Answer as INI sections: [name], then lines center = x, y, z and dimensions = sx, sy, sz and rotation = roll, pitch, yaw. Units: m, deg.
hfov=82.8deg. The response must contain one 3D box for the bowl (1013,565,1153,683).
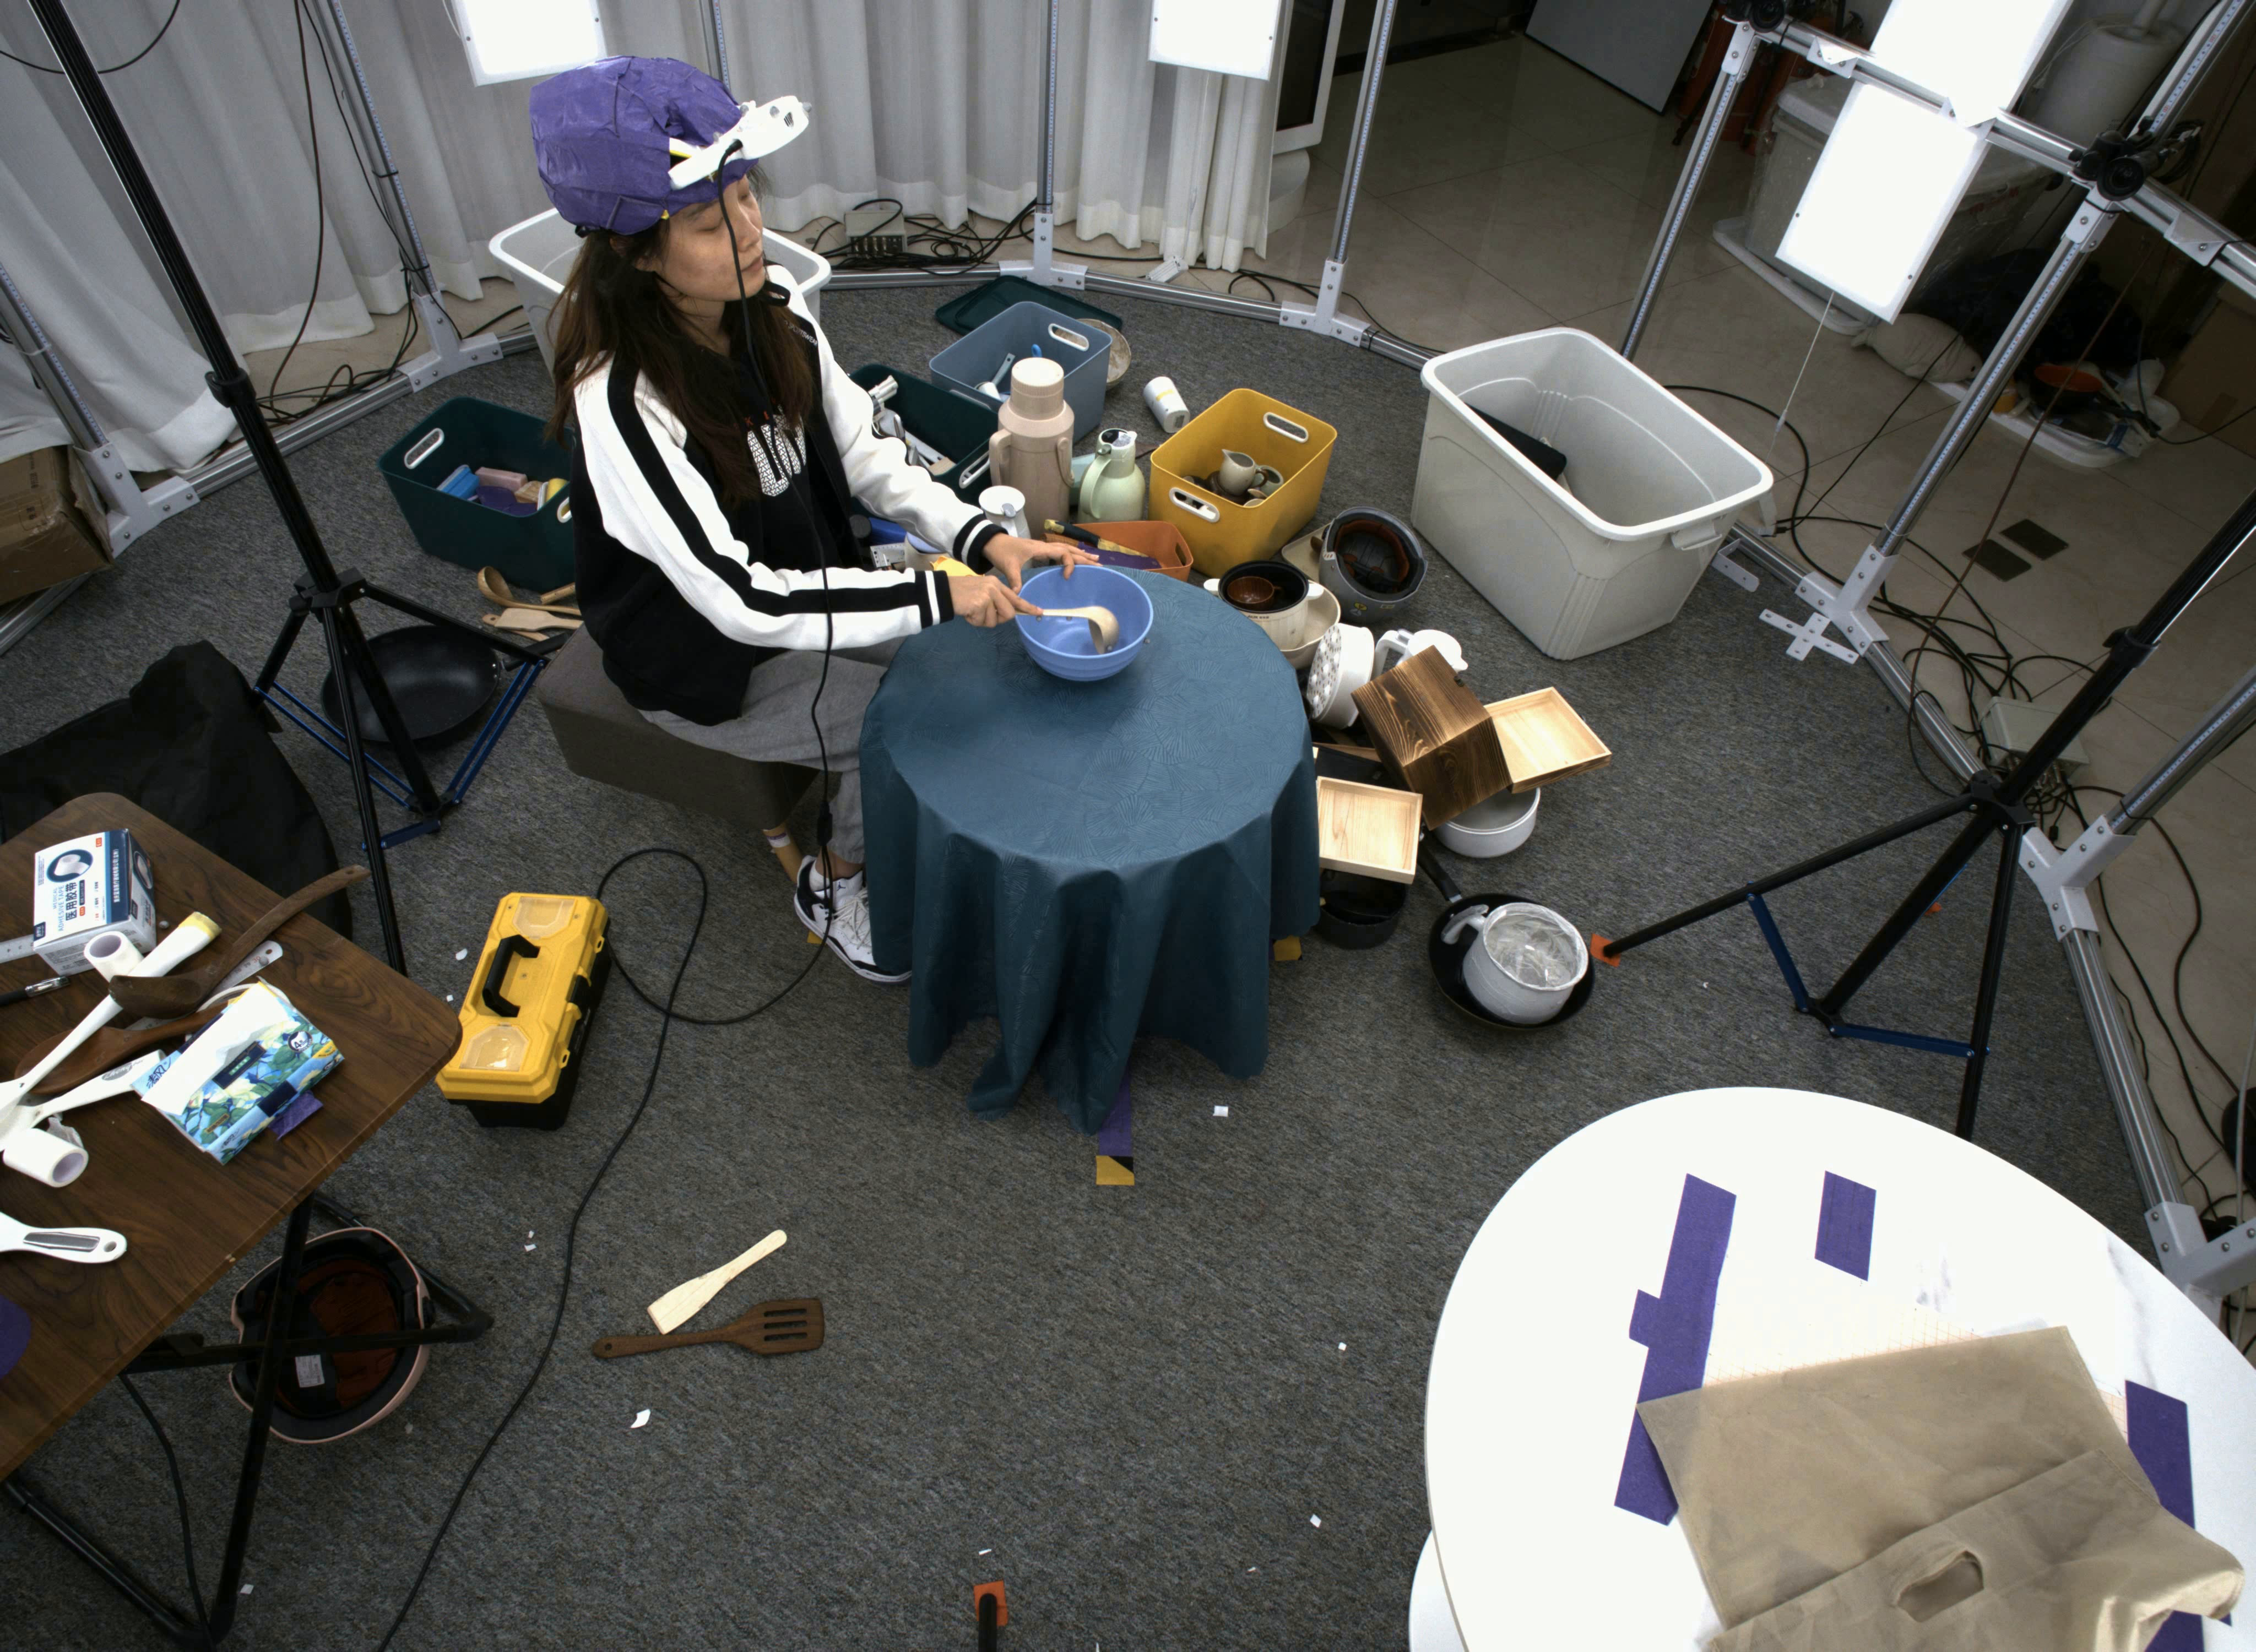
[bowl]
center = -0.065, -0.274, 1.846
dimensions = 0.196, 0.093, 0.201
rotation = 1, 51, -2

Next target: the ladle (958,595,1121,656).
[ladle]
center = -0.128, -0.278, 1.795
dimensions = 0.253, 0.071, 0.074
rotation = 1, 51, -28
